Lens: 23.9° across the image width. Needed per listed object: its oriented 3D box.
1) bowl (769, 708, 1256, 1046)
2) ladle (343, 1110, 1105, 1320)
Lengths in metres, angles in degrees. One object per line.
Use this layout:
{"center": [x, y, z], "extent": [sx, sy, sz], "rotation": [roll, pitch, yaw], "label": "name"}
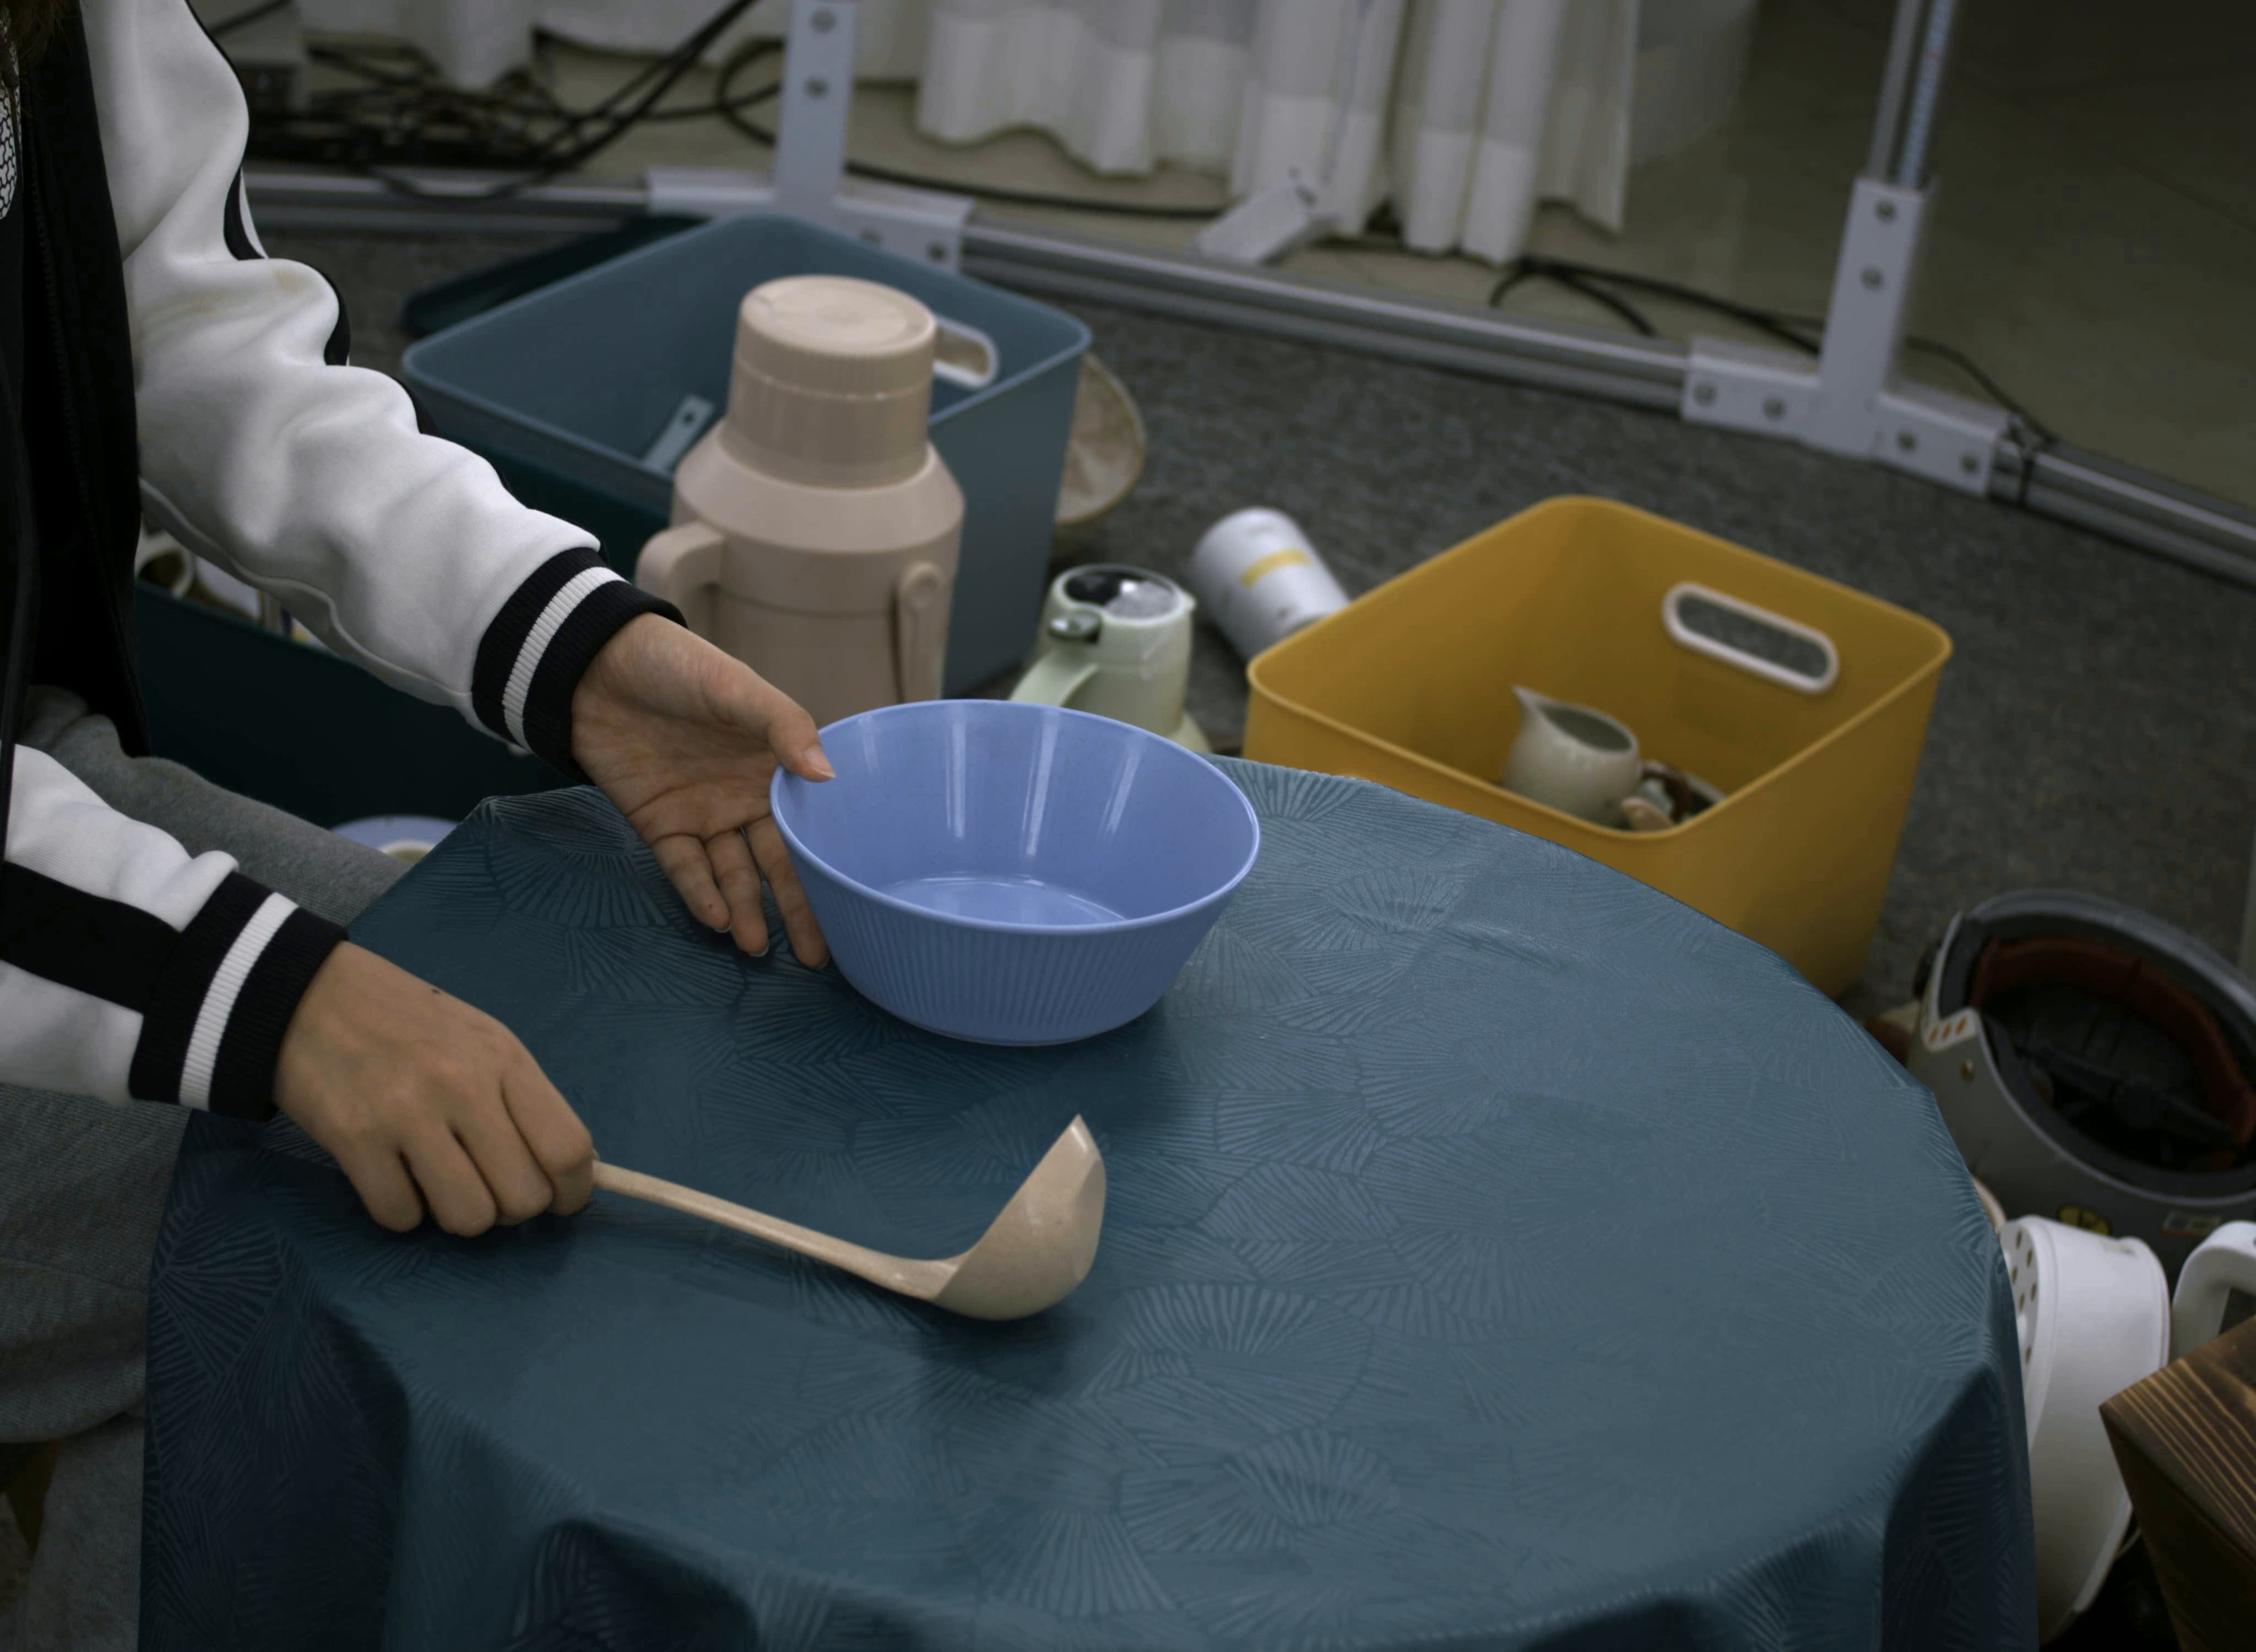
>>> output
{"center": [-0.044, 0.024, 1.911], "extent": [0.175, 0.070, 0.177], "rotation": [5, 26, -3], "label": "bowl"}
{"center": [-0.132, 0.102, 1.730], "extent": [0.254, 0.072, 0.072], "rotation": [13, 20, 10], "label": "ladle"}
